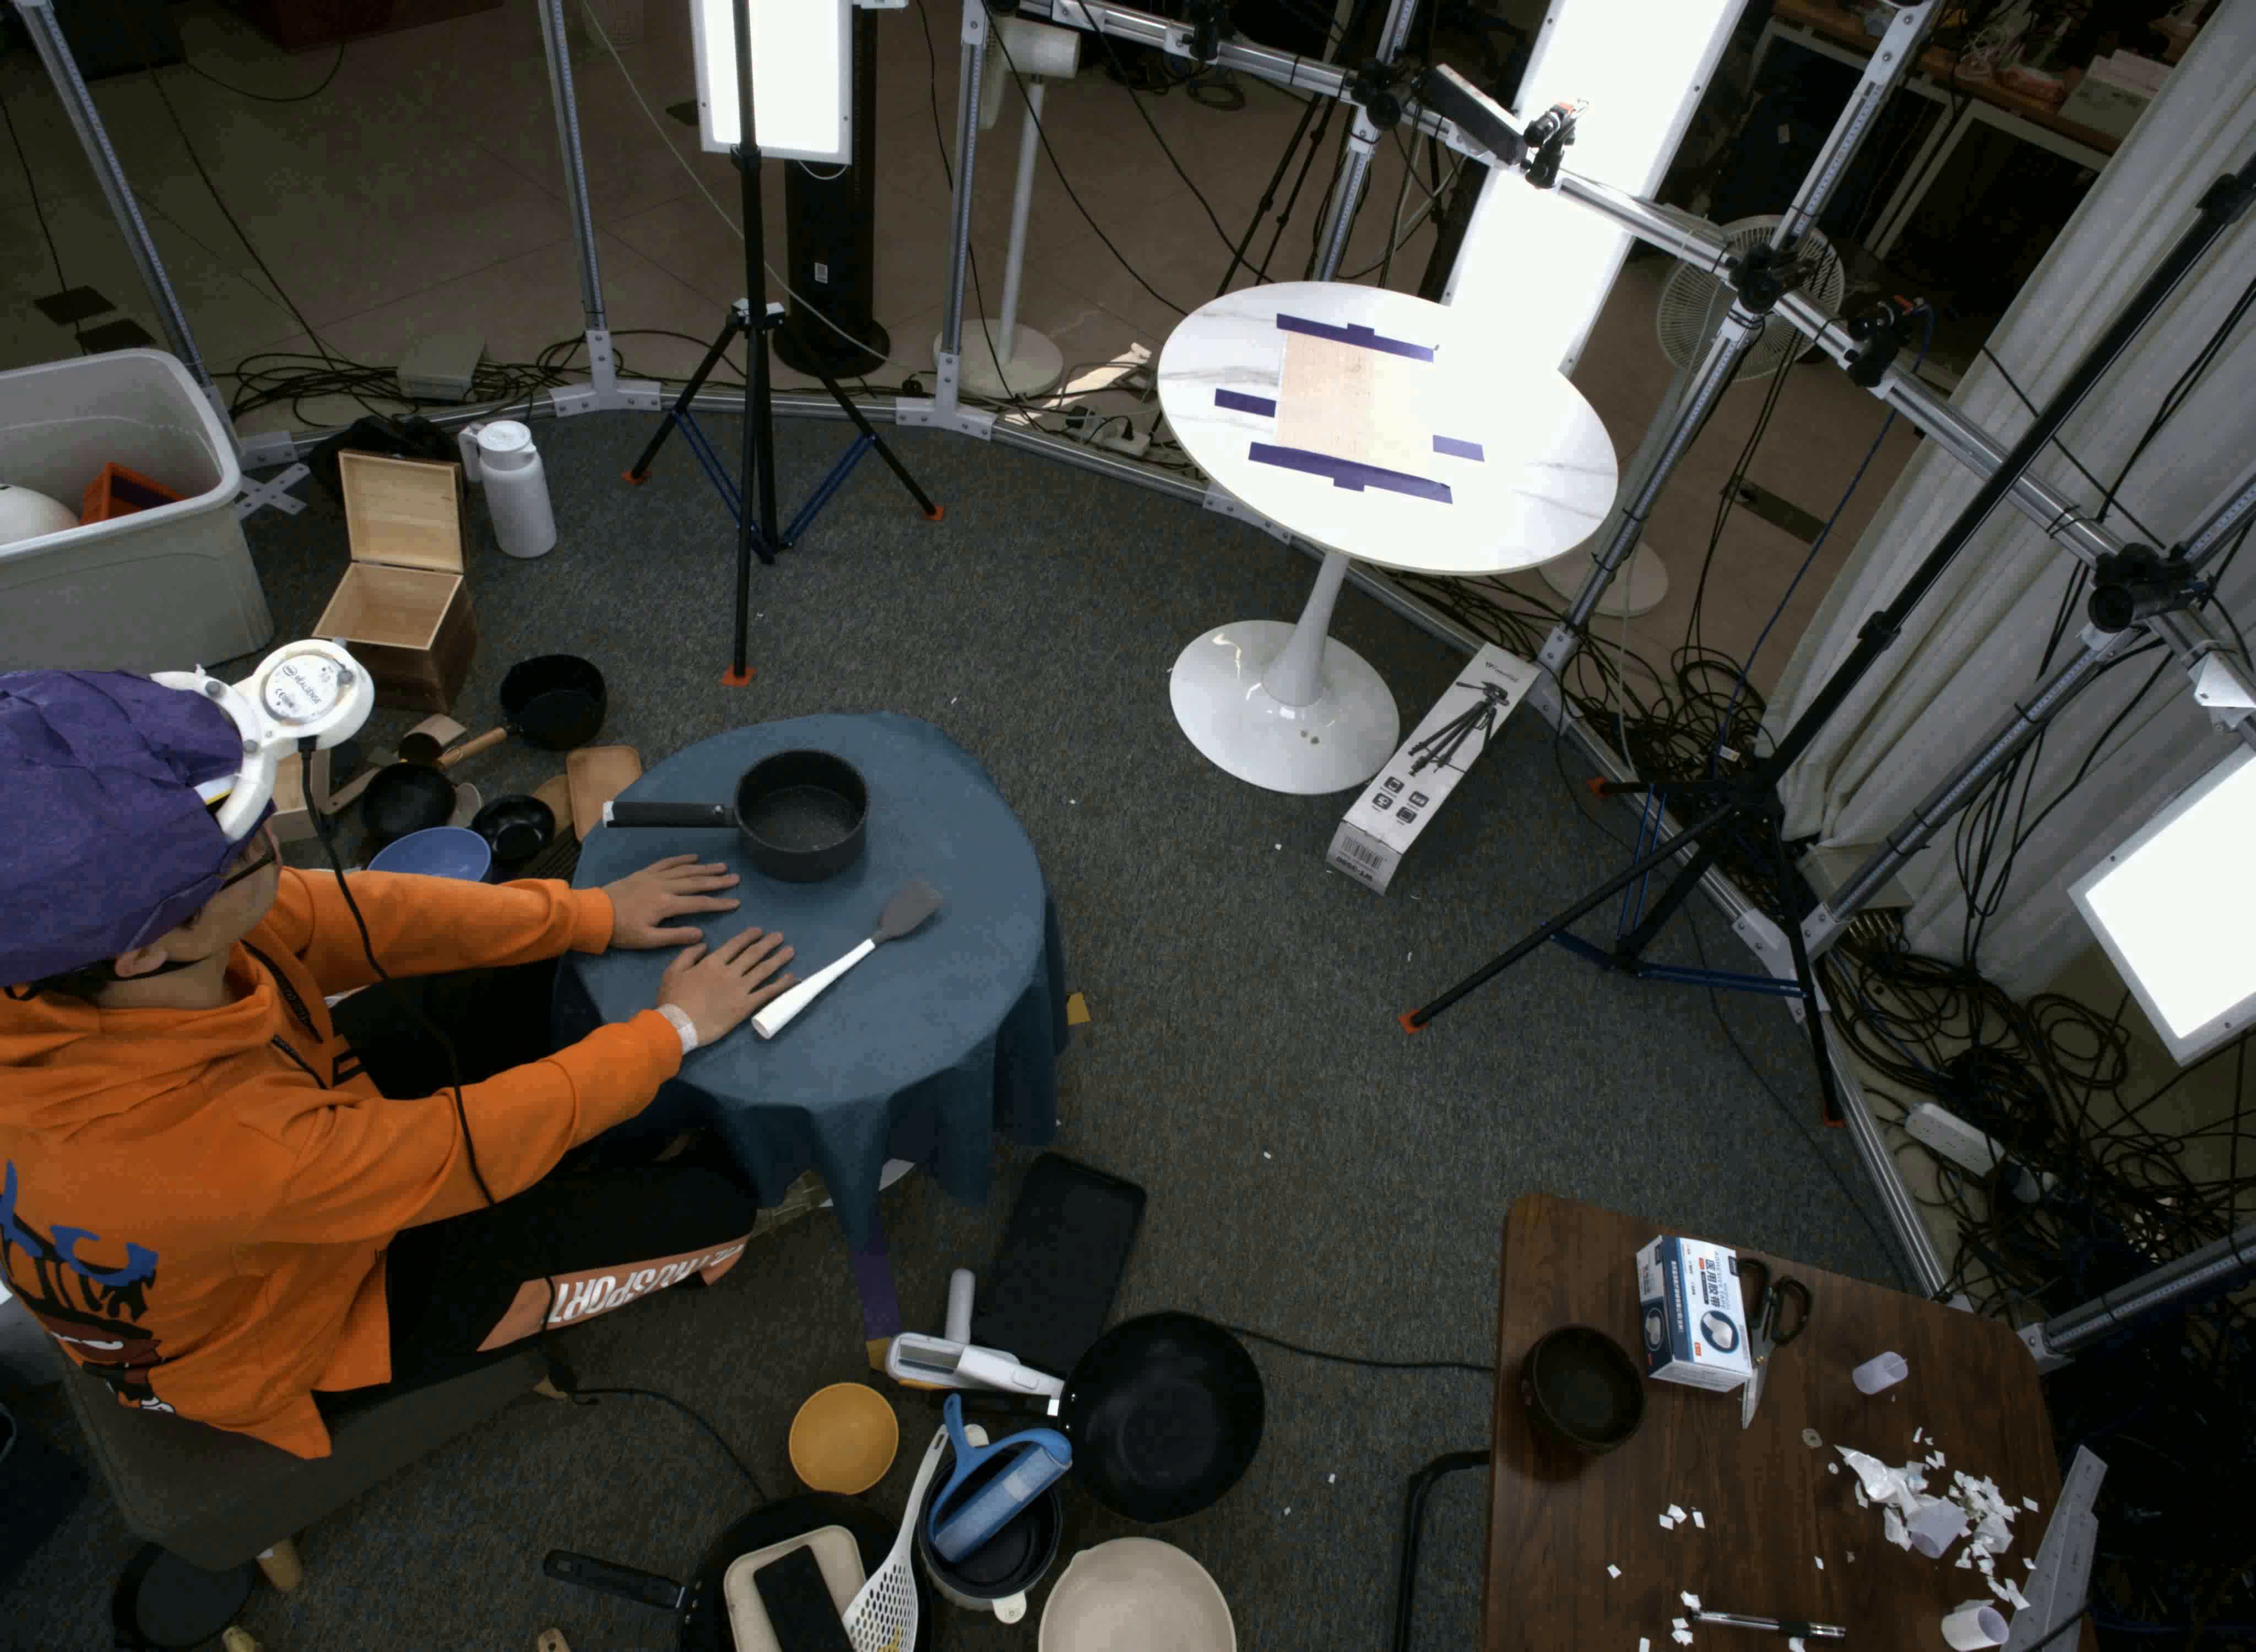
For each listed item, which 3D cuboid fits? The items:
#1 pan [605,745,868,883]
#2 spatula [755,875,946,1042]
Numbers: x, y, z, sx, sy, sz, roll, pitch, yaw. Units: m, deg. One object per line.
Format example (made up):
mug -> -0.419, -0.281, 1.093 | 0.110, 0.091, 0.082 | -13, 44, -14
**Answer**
pan -> -0.498, -0.012, 1.647 | 0.330, 0.088, 0.168 | -2, 54, -19
spatula -> -0.339, 0.158, 1.597 | 0.057, 0.033, 0.288 | 36, 54, 17
